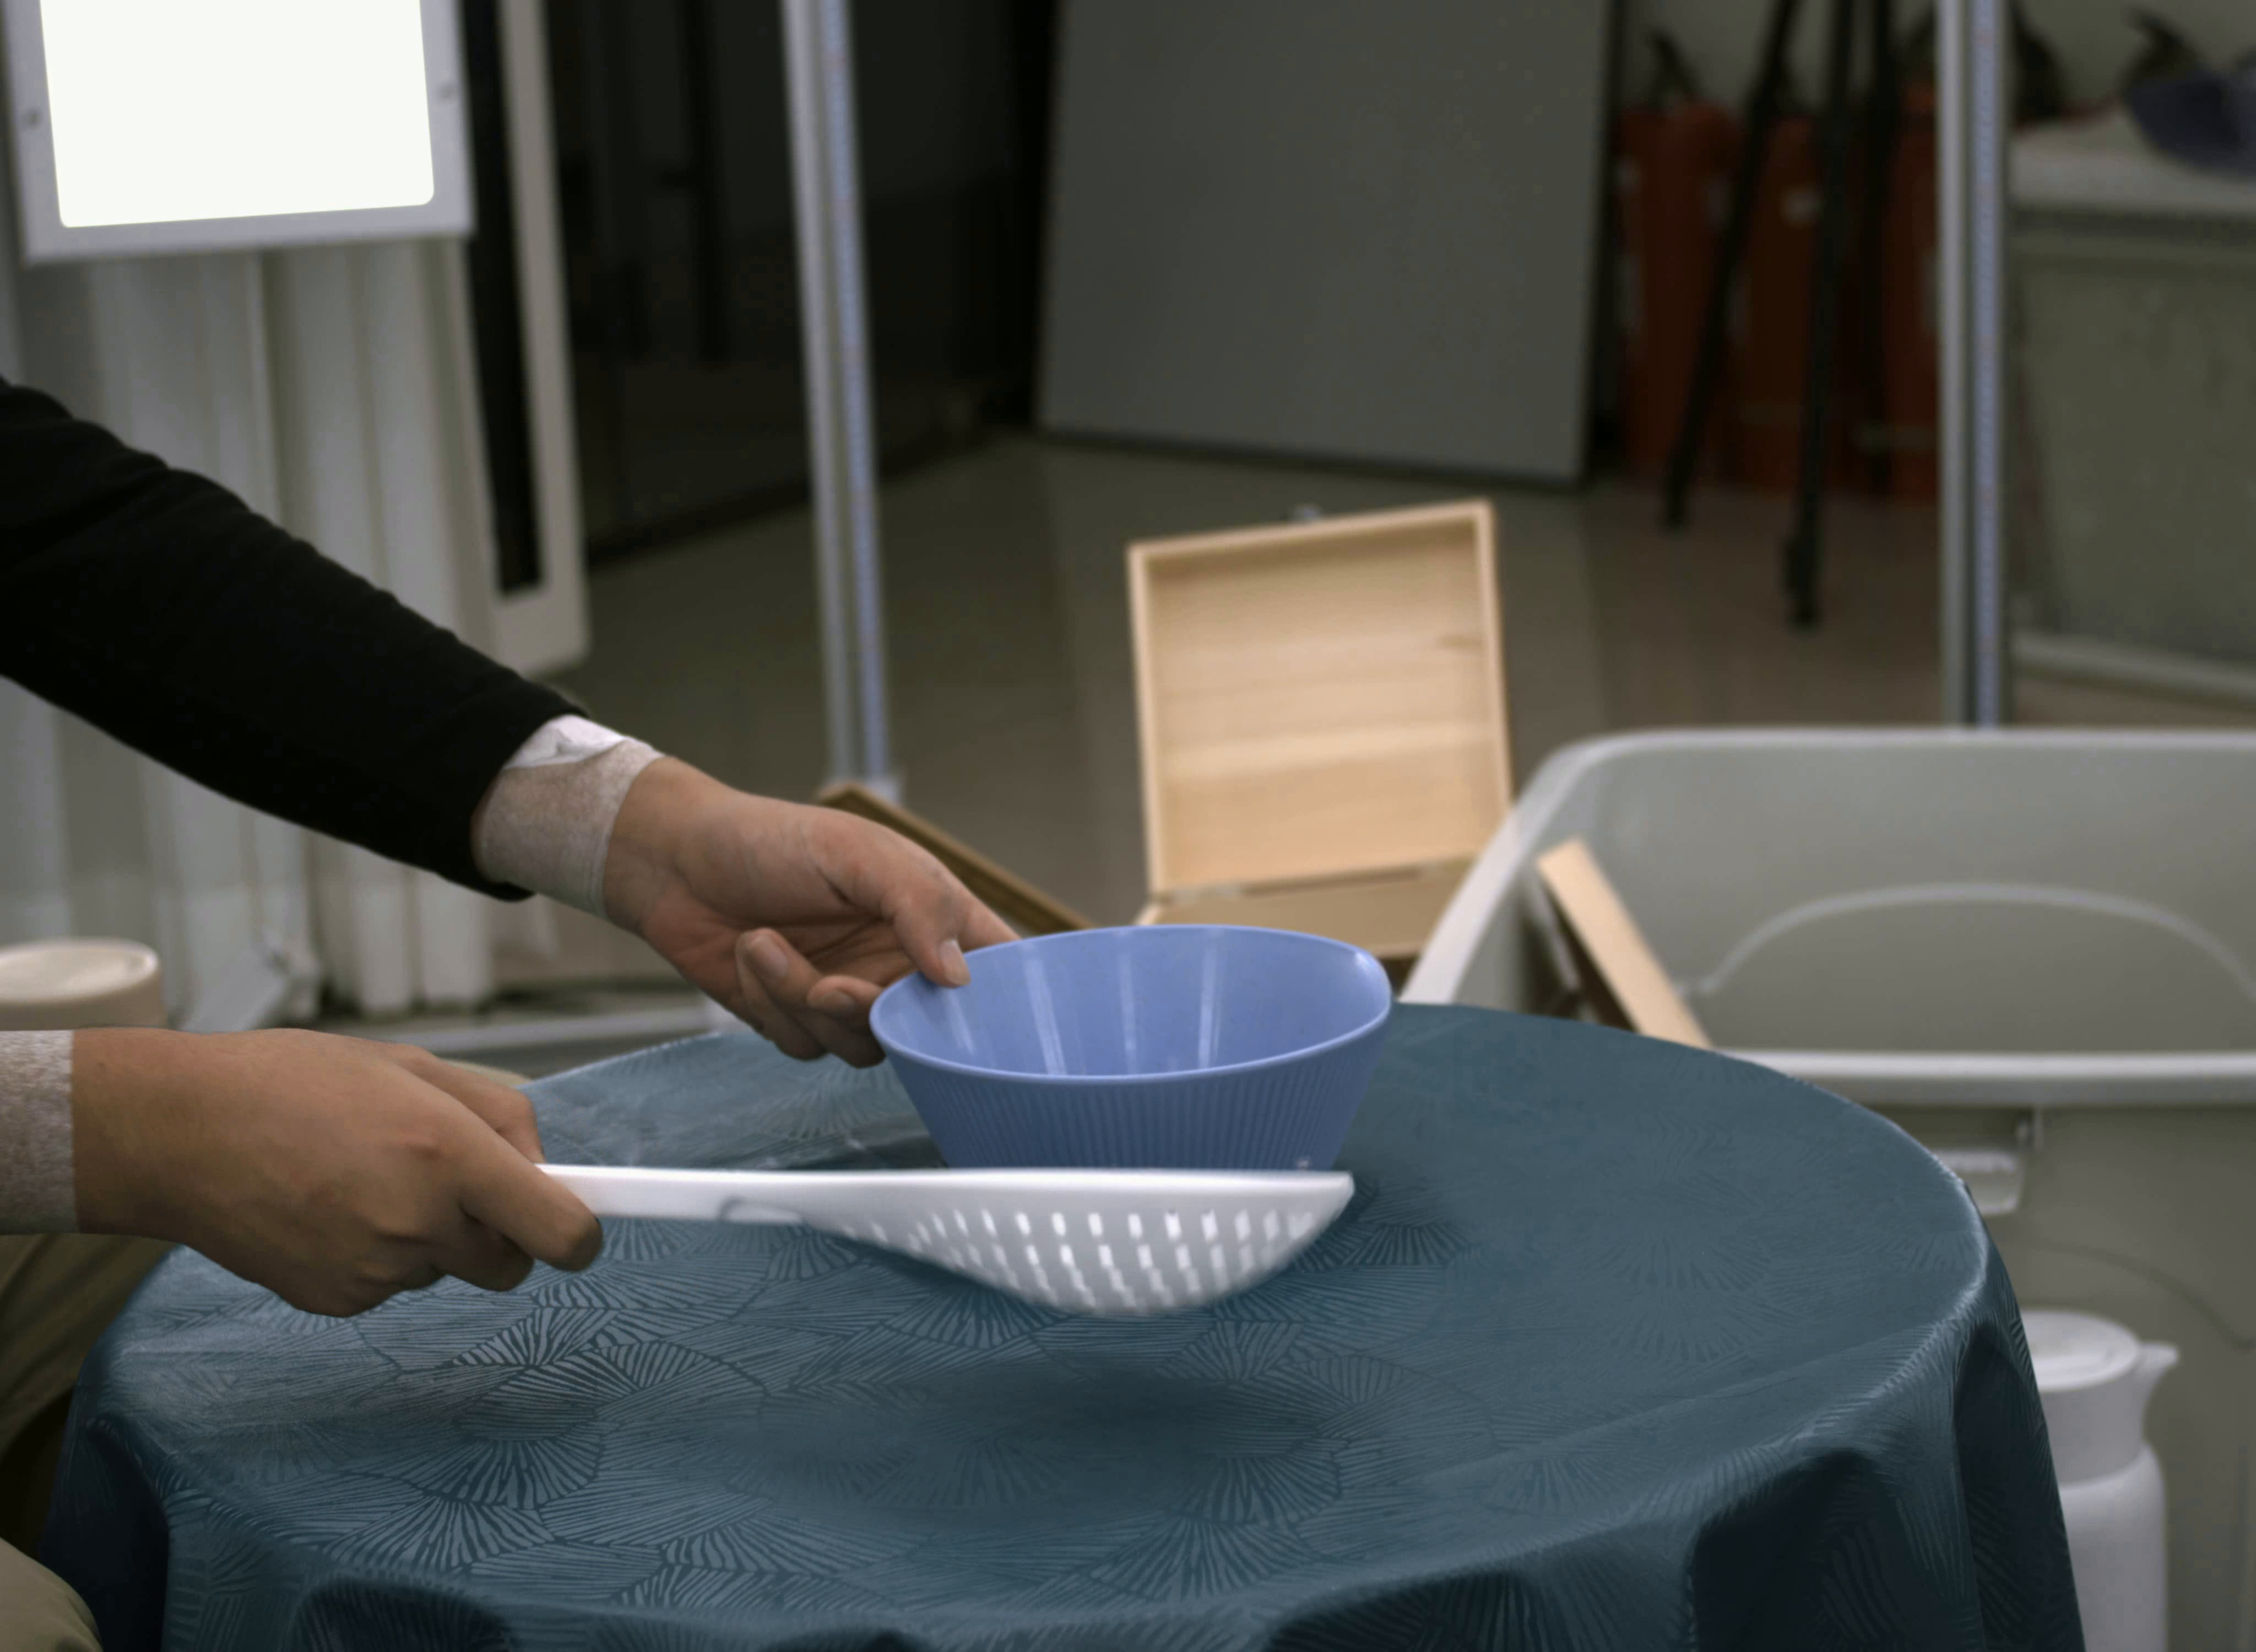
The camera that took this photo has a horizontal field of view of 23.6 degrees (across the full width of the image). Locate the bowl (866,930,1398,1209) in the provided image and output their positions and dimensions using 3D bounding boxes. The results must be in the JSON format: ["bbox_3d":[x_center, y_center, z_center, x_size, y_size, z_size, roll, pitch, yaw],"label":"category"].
[{"bbox_3d":[0.003,0.087,1.760,0.174,0.071,0.176,-5,14,0],"label":"bowl"}]

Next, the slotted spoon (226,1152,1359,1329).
[{"bbox_3d":[-0.103,0.110,1.579,0.349,0.046,0.134,6,0,18],"label":"slotted spoon"}]
